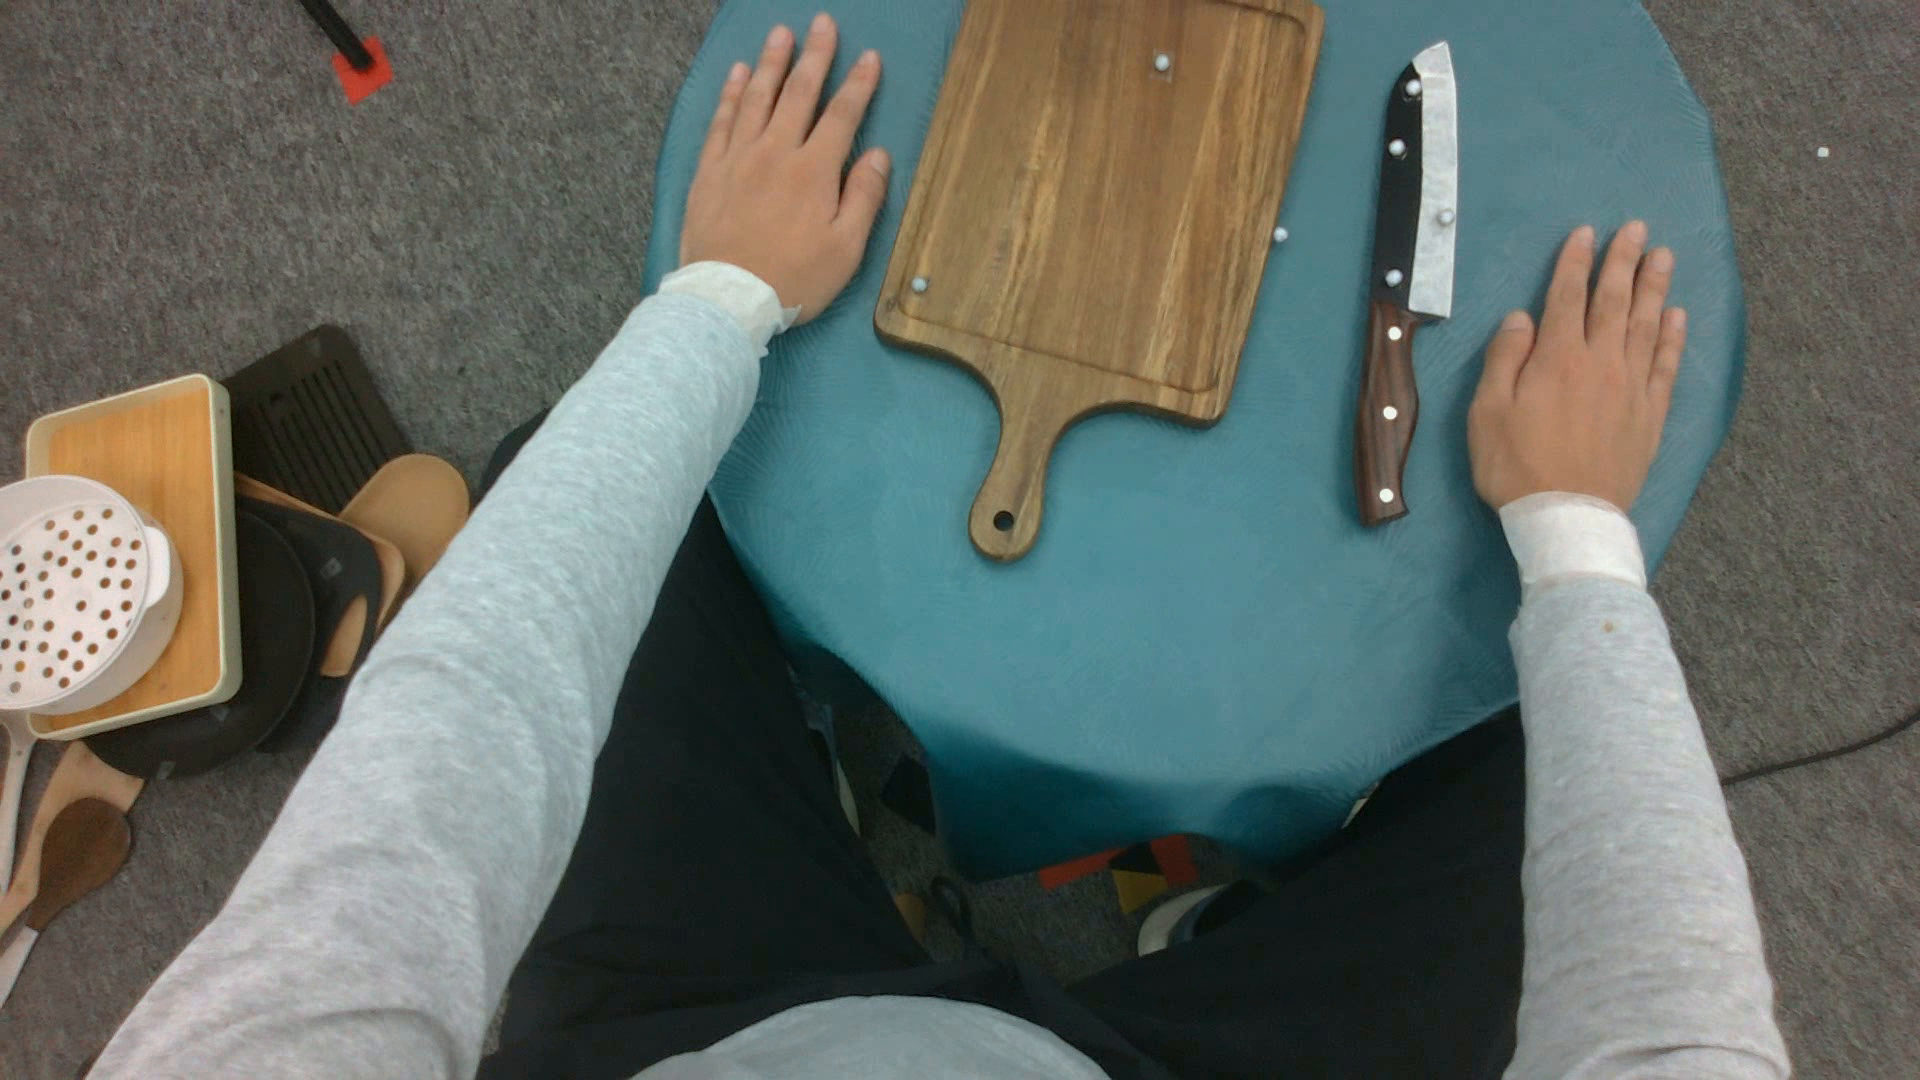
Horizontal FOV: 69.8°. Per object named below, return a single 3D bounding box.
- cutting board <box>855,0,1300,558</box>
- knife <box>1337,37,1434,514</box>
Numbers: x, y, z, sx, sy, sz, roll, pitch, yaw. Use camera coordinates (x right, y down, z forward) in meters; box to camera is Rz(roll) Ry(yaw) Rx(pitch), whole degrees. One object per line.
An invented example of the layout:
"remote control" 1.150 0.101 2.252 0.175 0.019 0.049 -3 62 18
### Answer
"cutting board" 0.055 -0.160 0.751 0.201 0.023 0.353 15 78 3
"knife" 0.234 -0.151 0.753 0.050 0.020 0.290 11 76 -4
